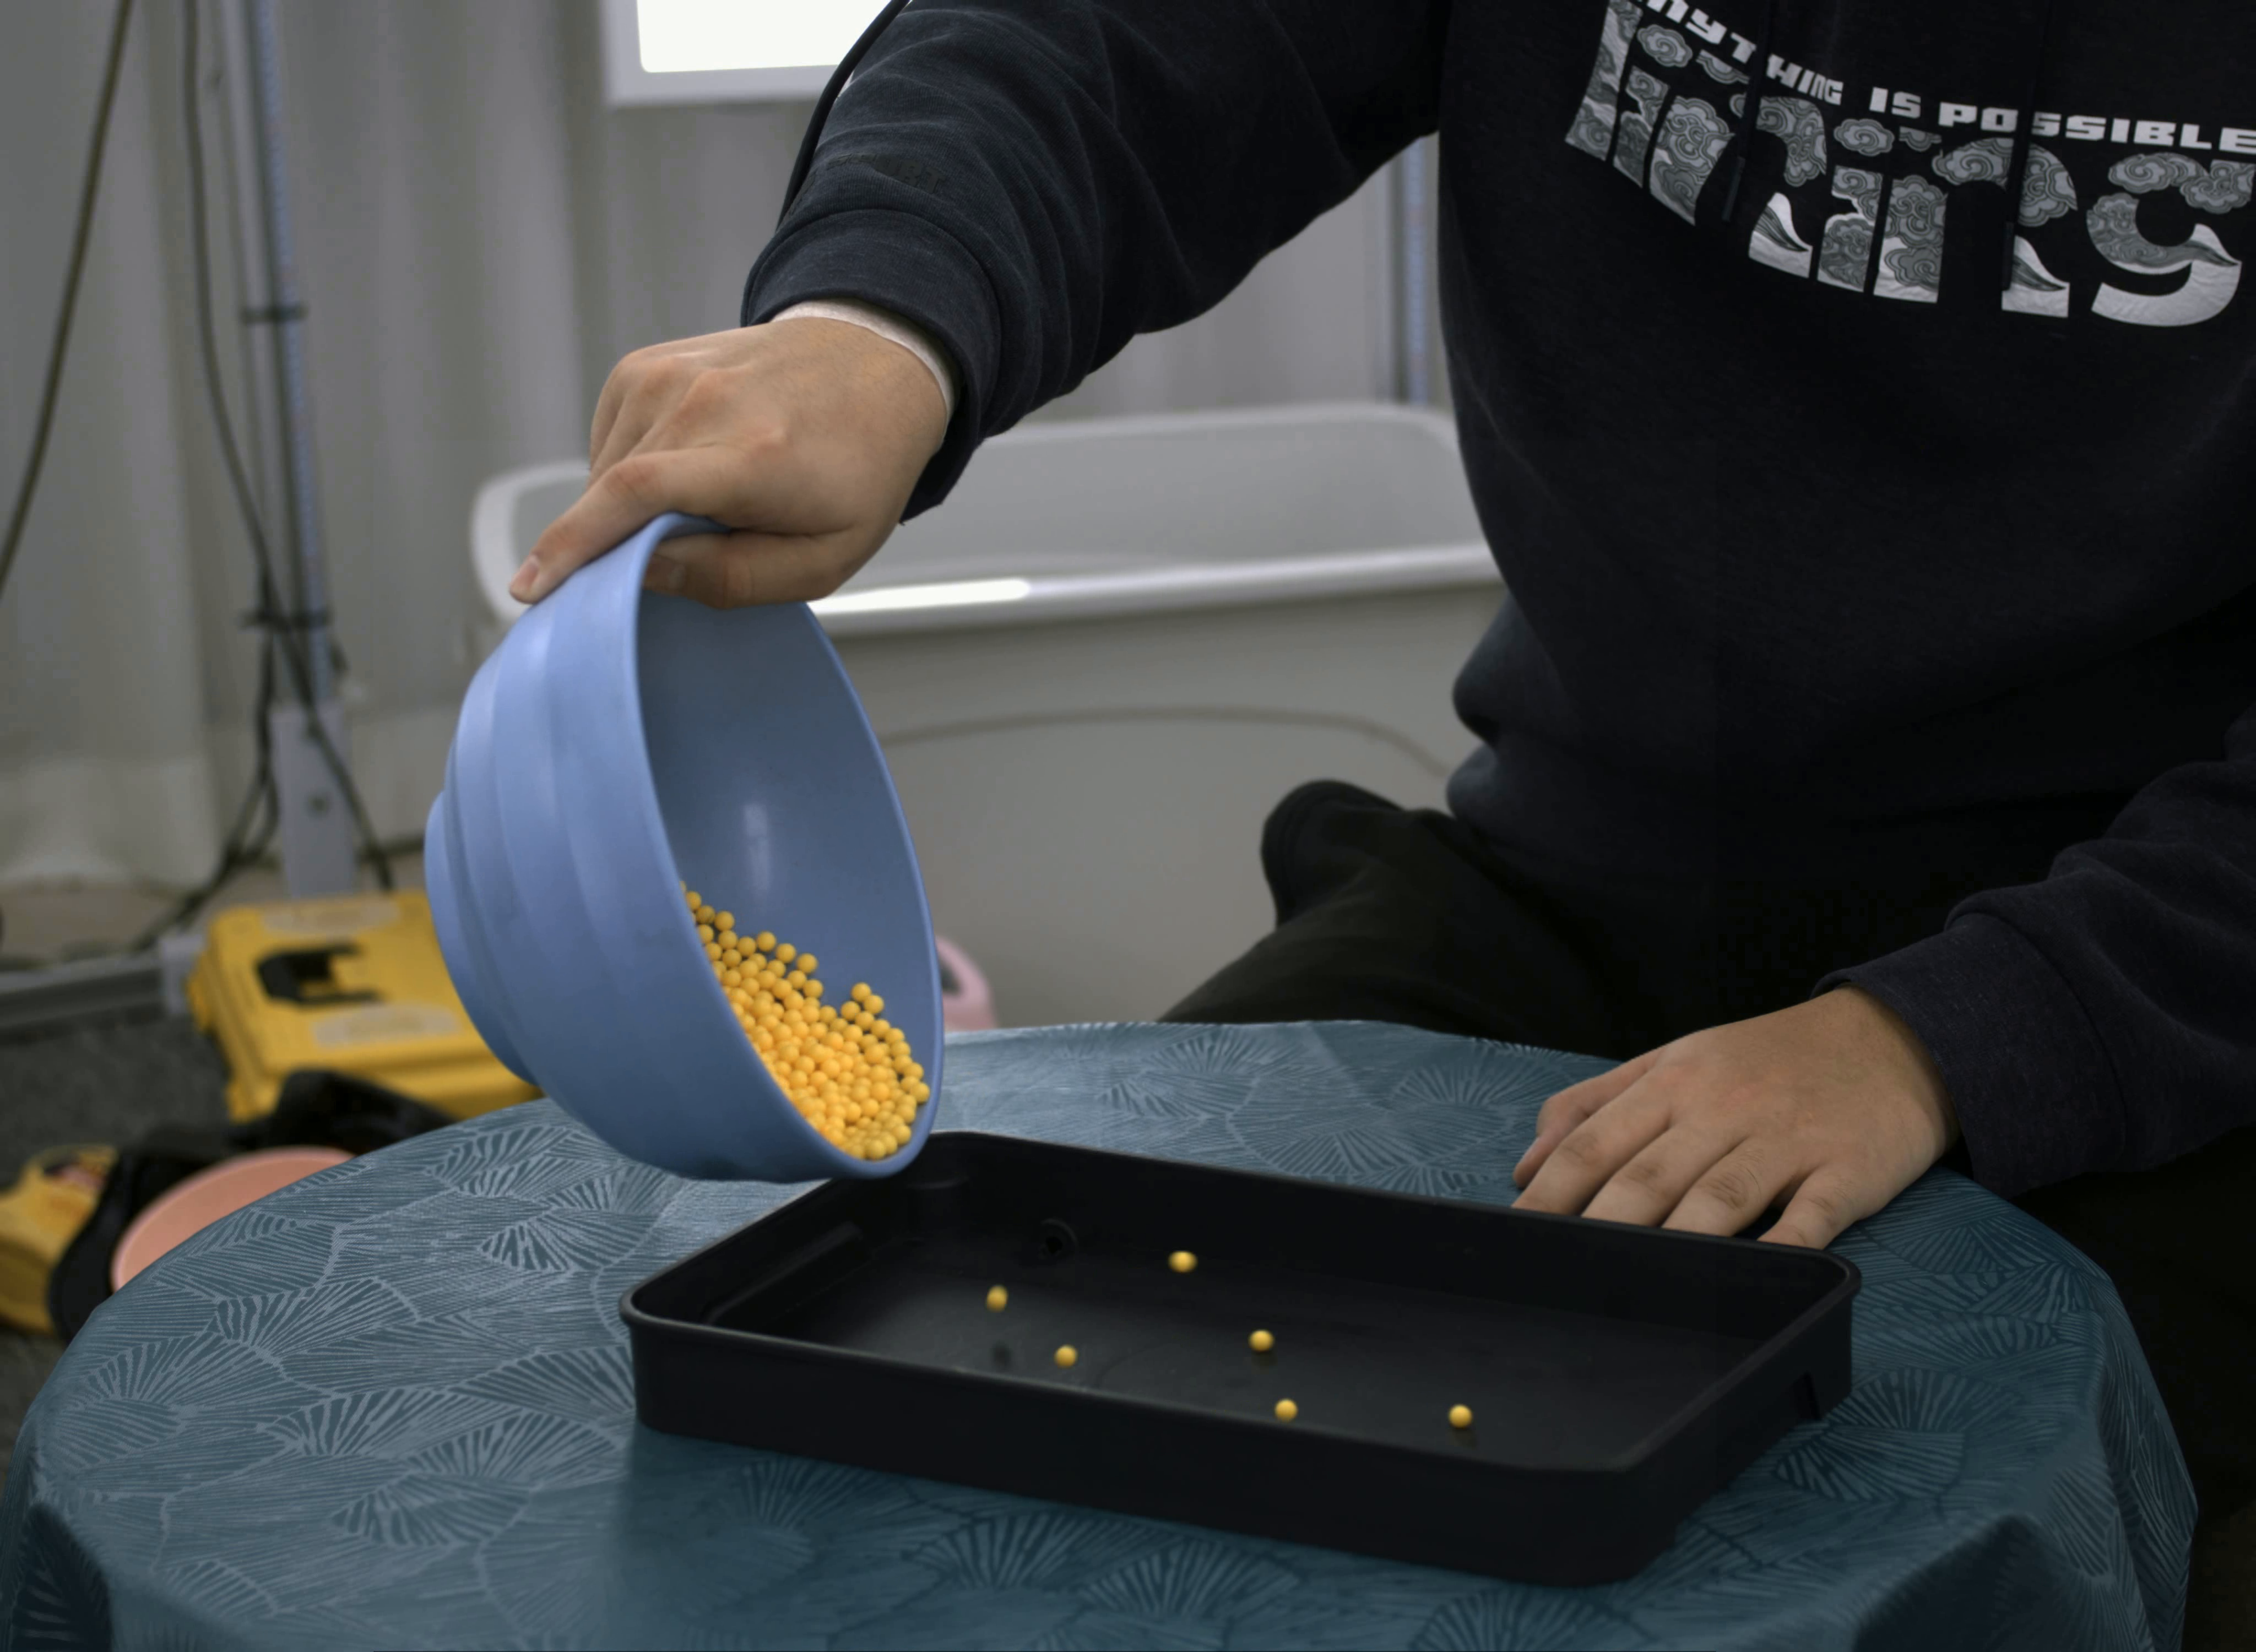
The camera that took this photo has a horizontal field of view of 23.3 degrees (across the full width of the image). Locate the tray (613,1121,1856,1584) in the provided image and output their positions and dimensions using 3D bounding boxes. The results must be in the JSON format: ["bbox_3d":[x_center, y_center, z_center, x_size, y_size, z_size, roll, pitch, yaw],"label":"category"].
[{"bbox_3d":[0.029,0.143,1.533,0.319,0.037,0.184,6,17,29],"label":"tray"}]

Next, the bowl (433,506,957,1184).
[{"bbox_3d":[-0.133,0.017,1.551,0.095,0.196,0.197,-18,9,19],"label":"bowl"}]
